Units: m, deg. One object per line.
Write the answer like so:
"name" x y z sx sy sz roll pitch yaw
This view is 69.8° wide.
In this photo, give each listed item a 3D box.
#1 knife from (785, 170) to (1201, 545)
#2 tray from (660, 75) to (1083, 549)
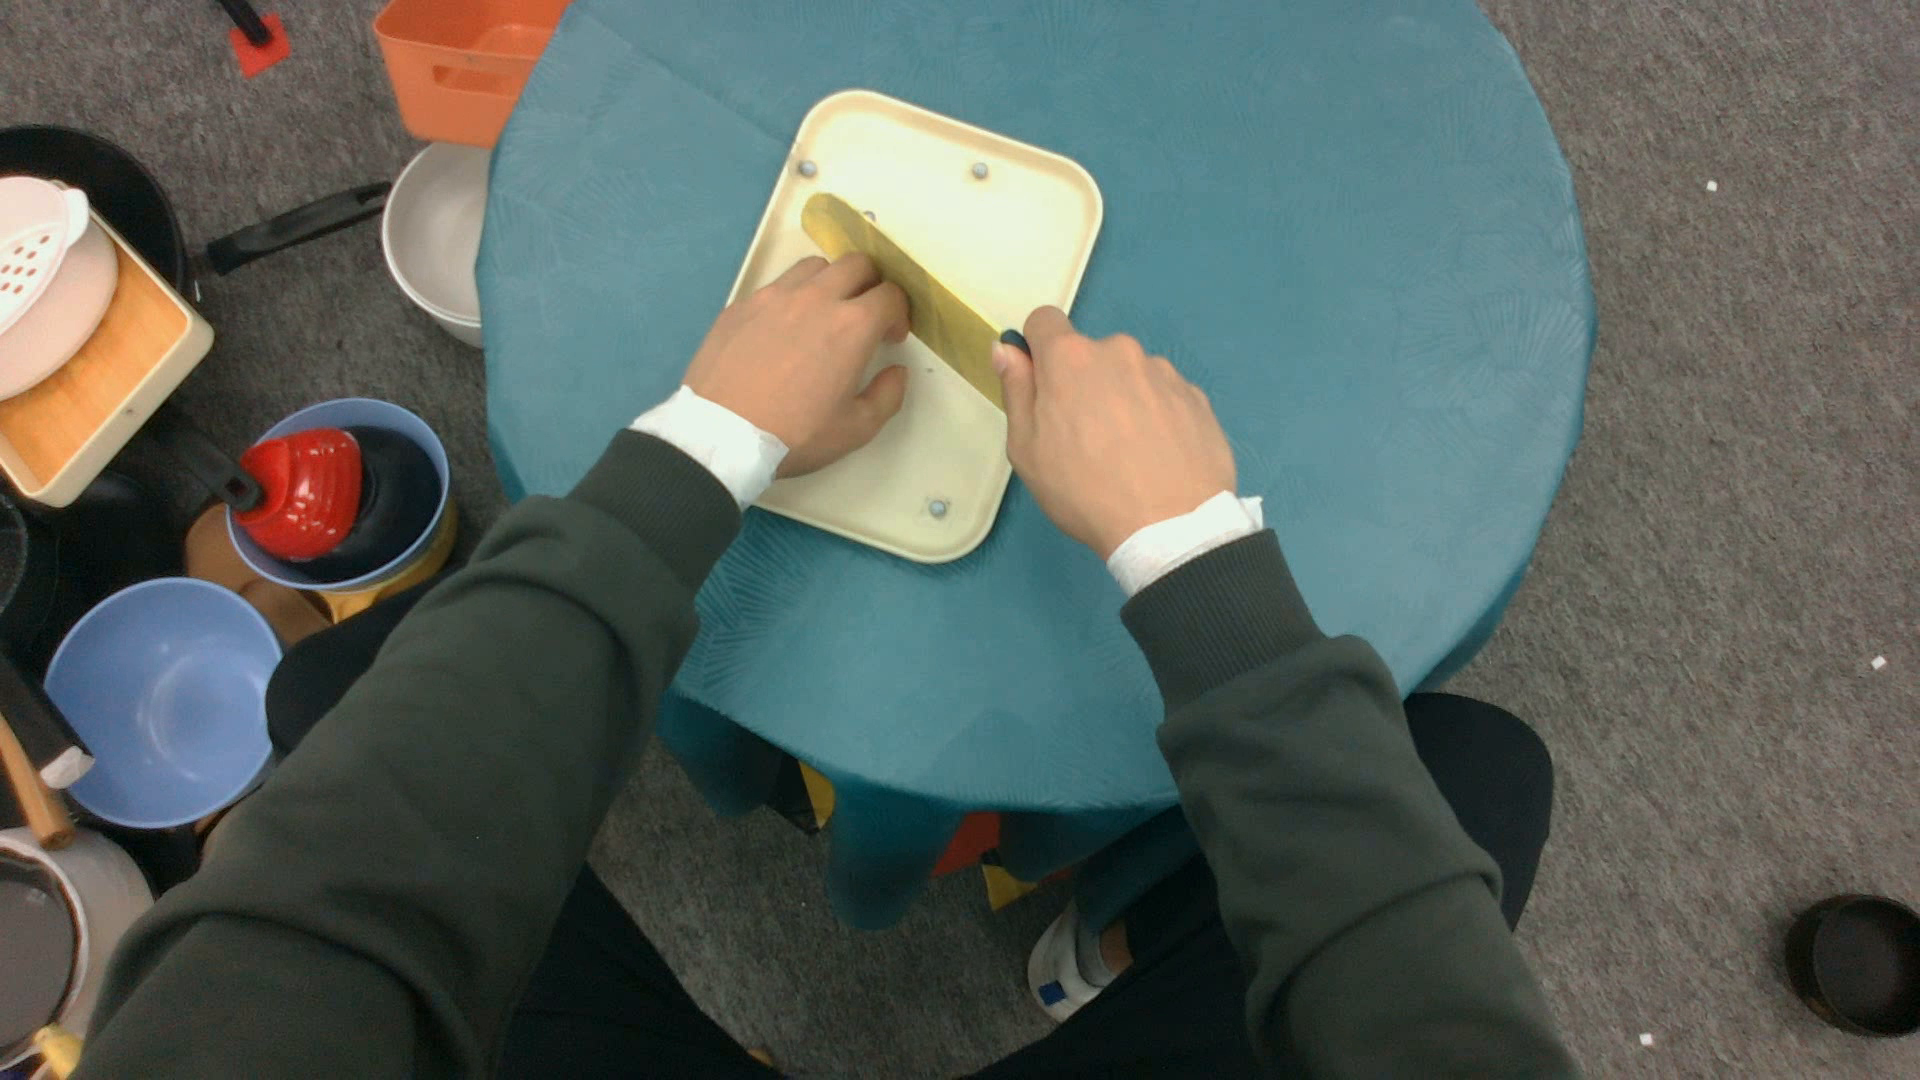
"knife" 0.005 -0.092 0.664 0.027 0.081 0.290 -40 67 -14
"tray" -0.043 -0.122 0.722 0.171 0.017 0.240 19 76 1
